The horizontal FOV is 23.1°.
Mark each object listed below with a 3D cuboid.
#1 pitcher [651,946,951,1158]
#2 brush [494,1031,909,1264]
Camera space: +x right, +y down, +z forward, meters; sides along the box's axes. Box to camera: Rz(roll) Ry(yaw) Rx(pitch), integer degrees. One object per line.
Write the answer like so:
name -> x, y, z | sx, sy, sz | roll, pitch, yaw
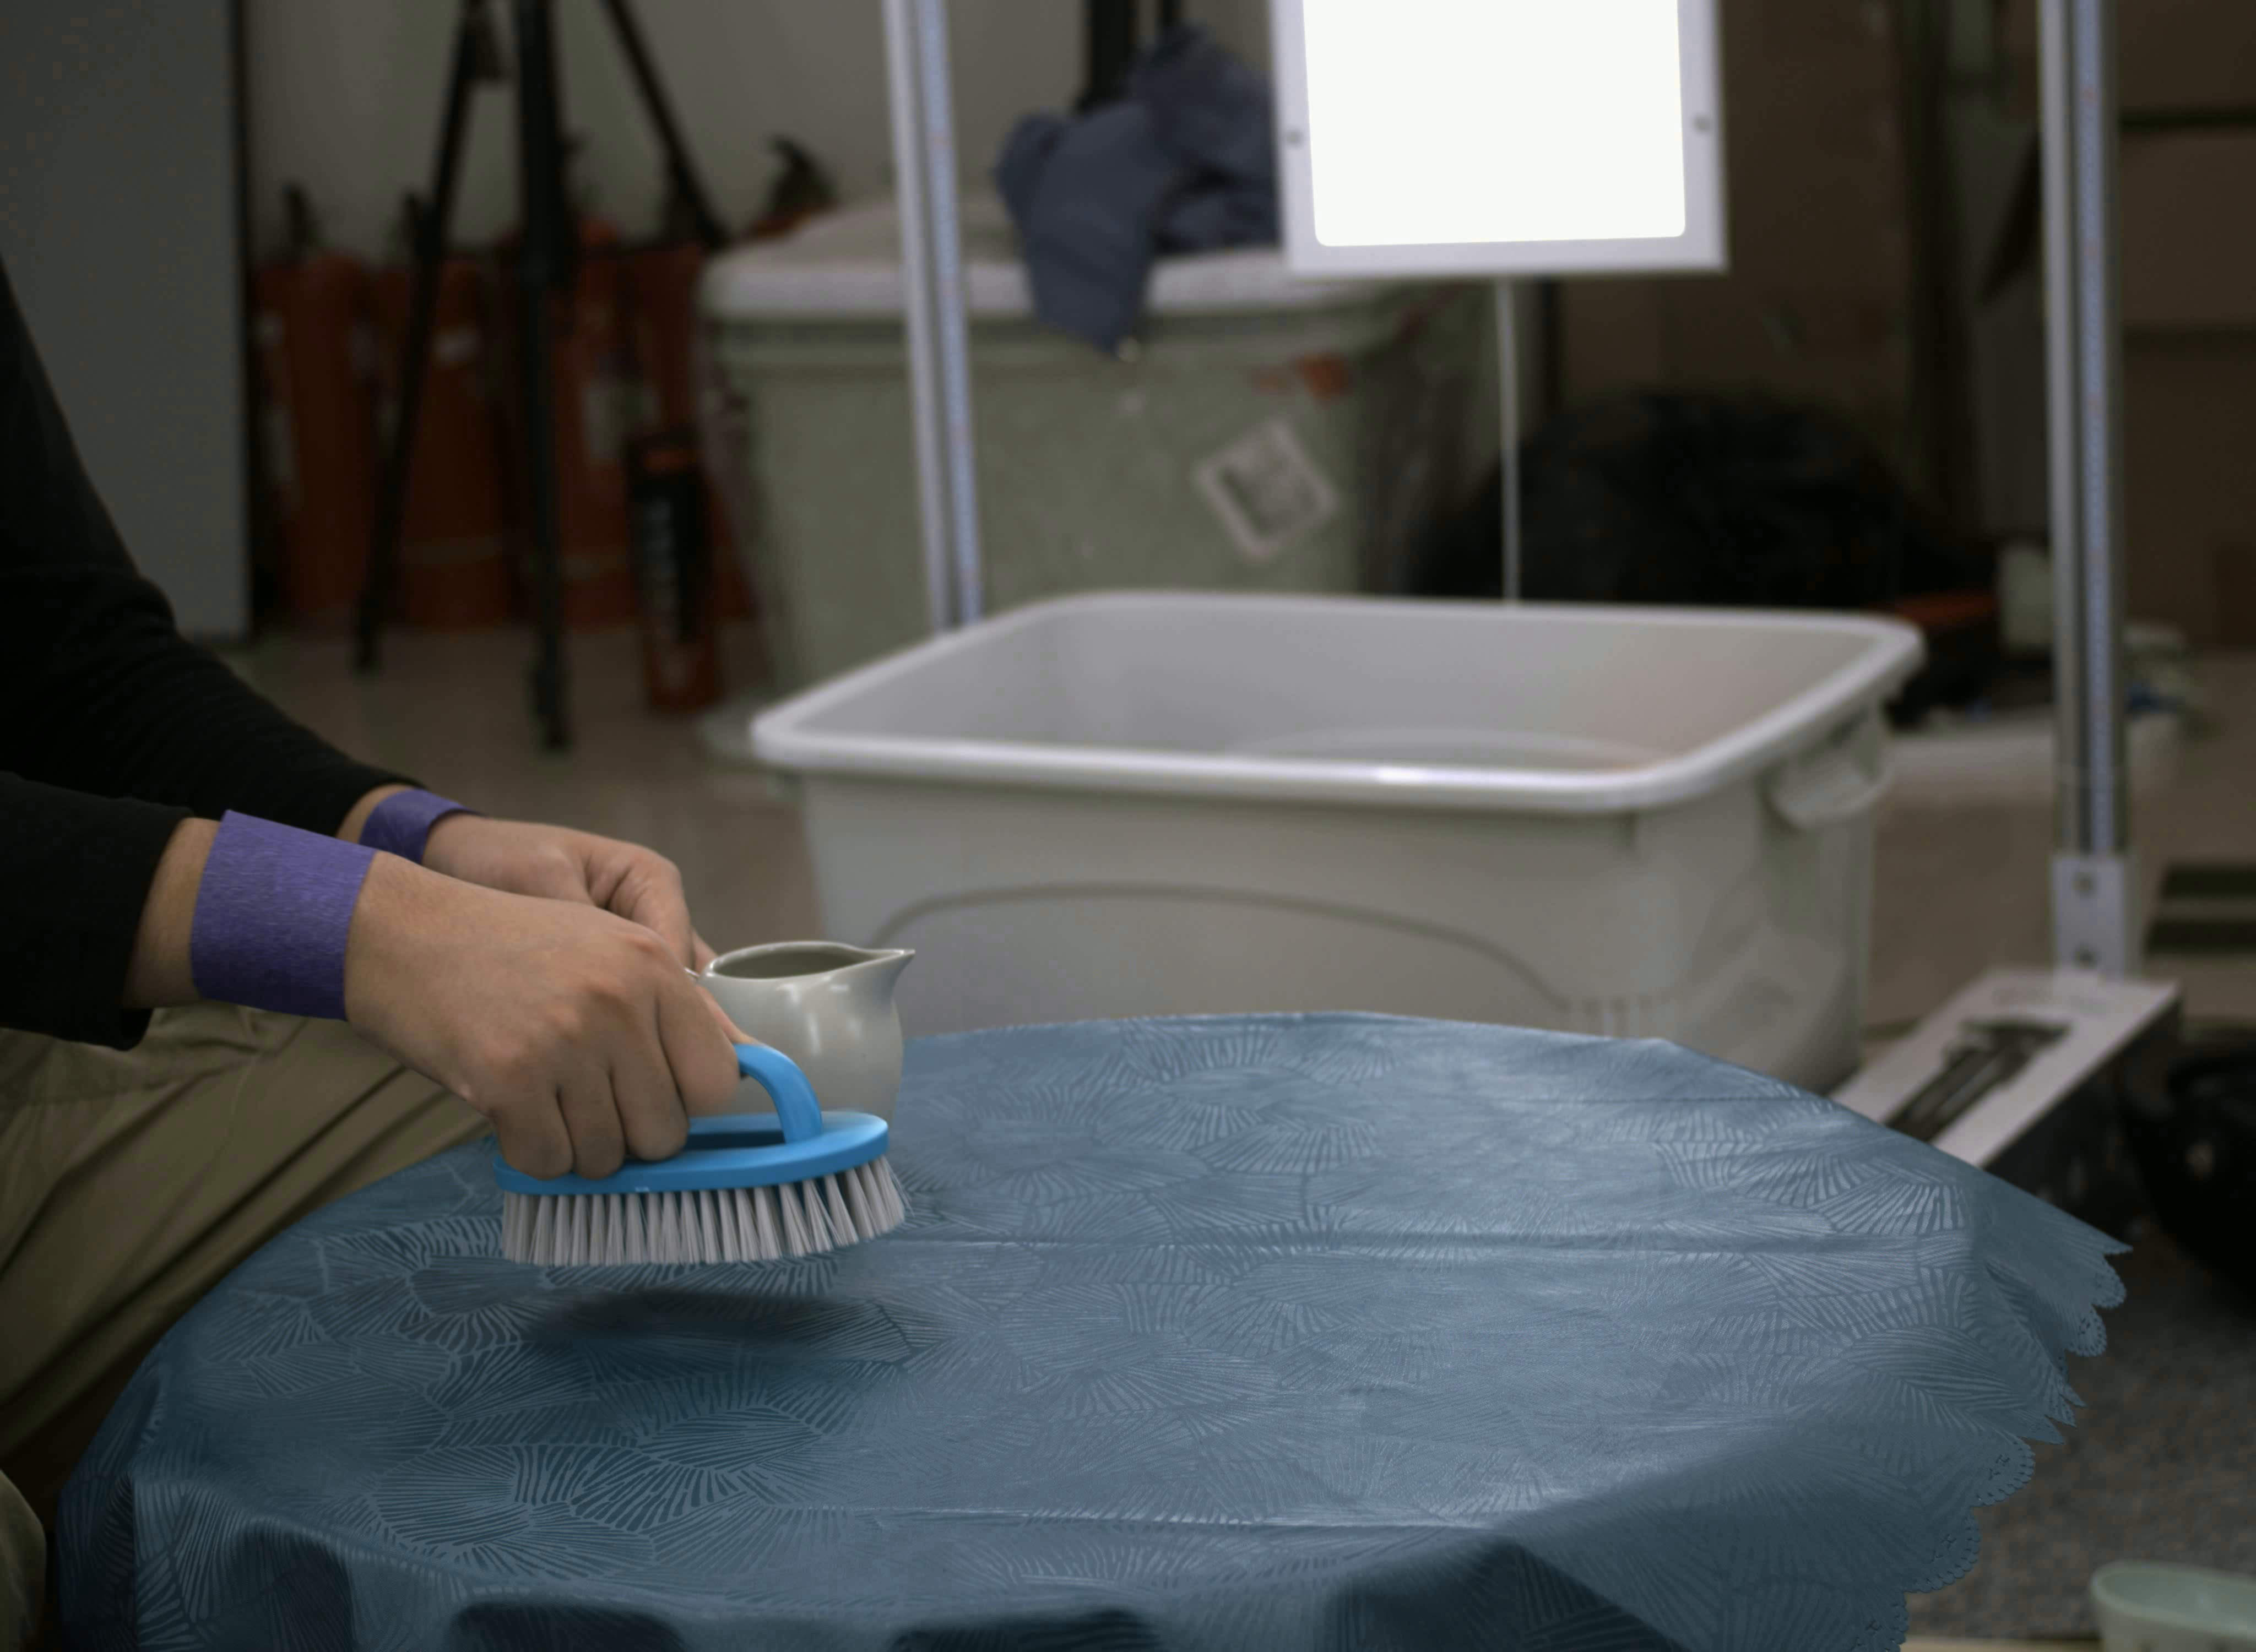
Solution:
pitcher -> -0.115, 0.085, 1.925 | 0.121, 0.088, 0.074 | 7, 12, 28
brush -> -0.144, 0.100, 1.797 | 0.144, 0.064, 0.082 | -5, 14, 27
